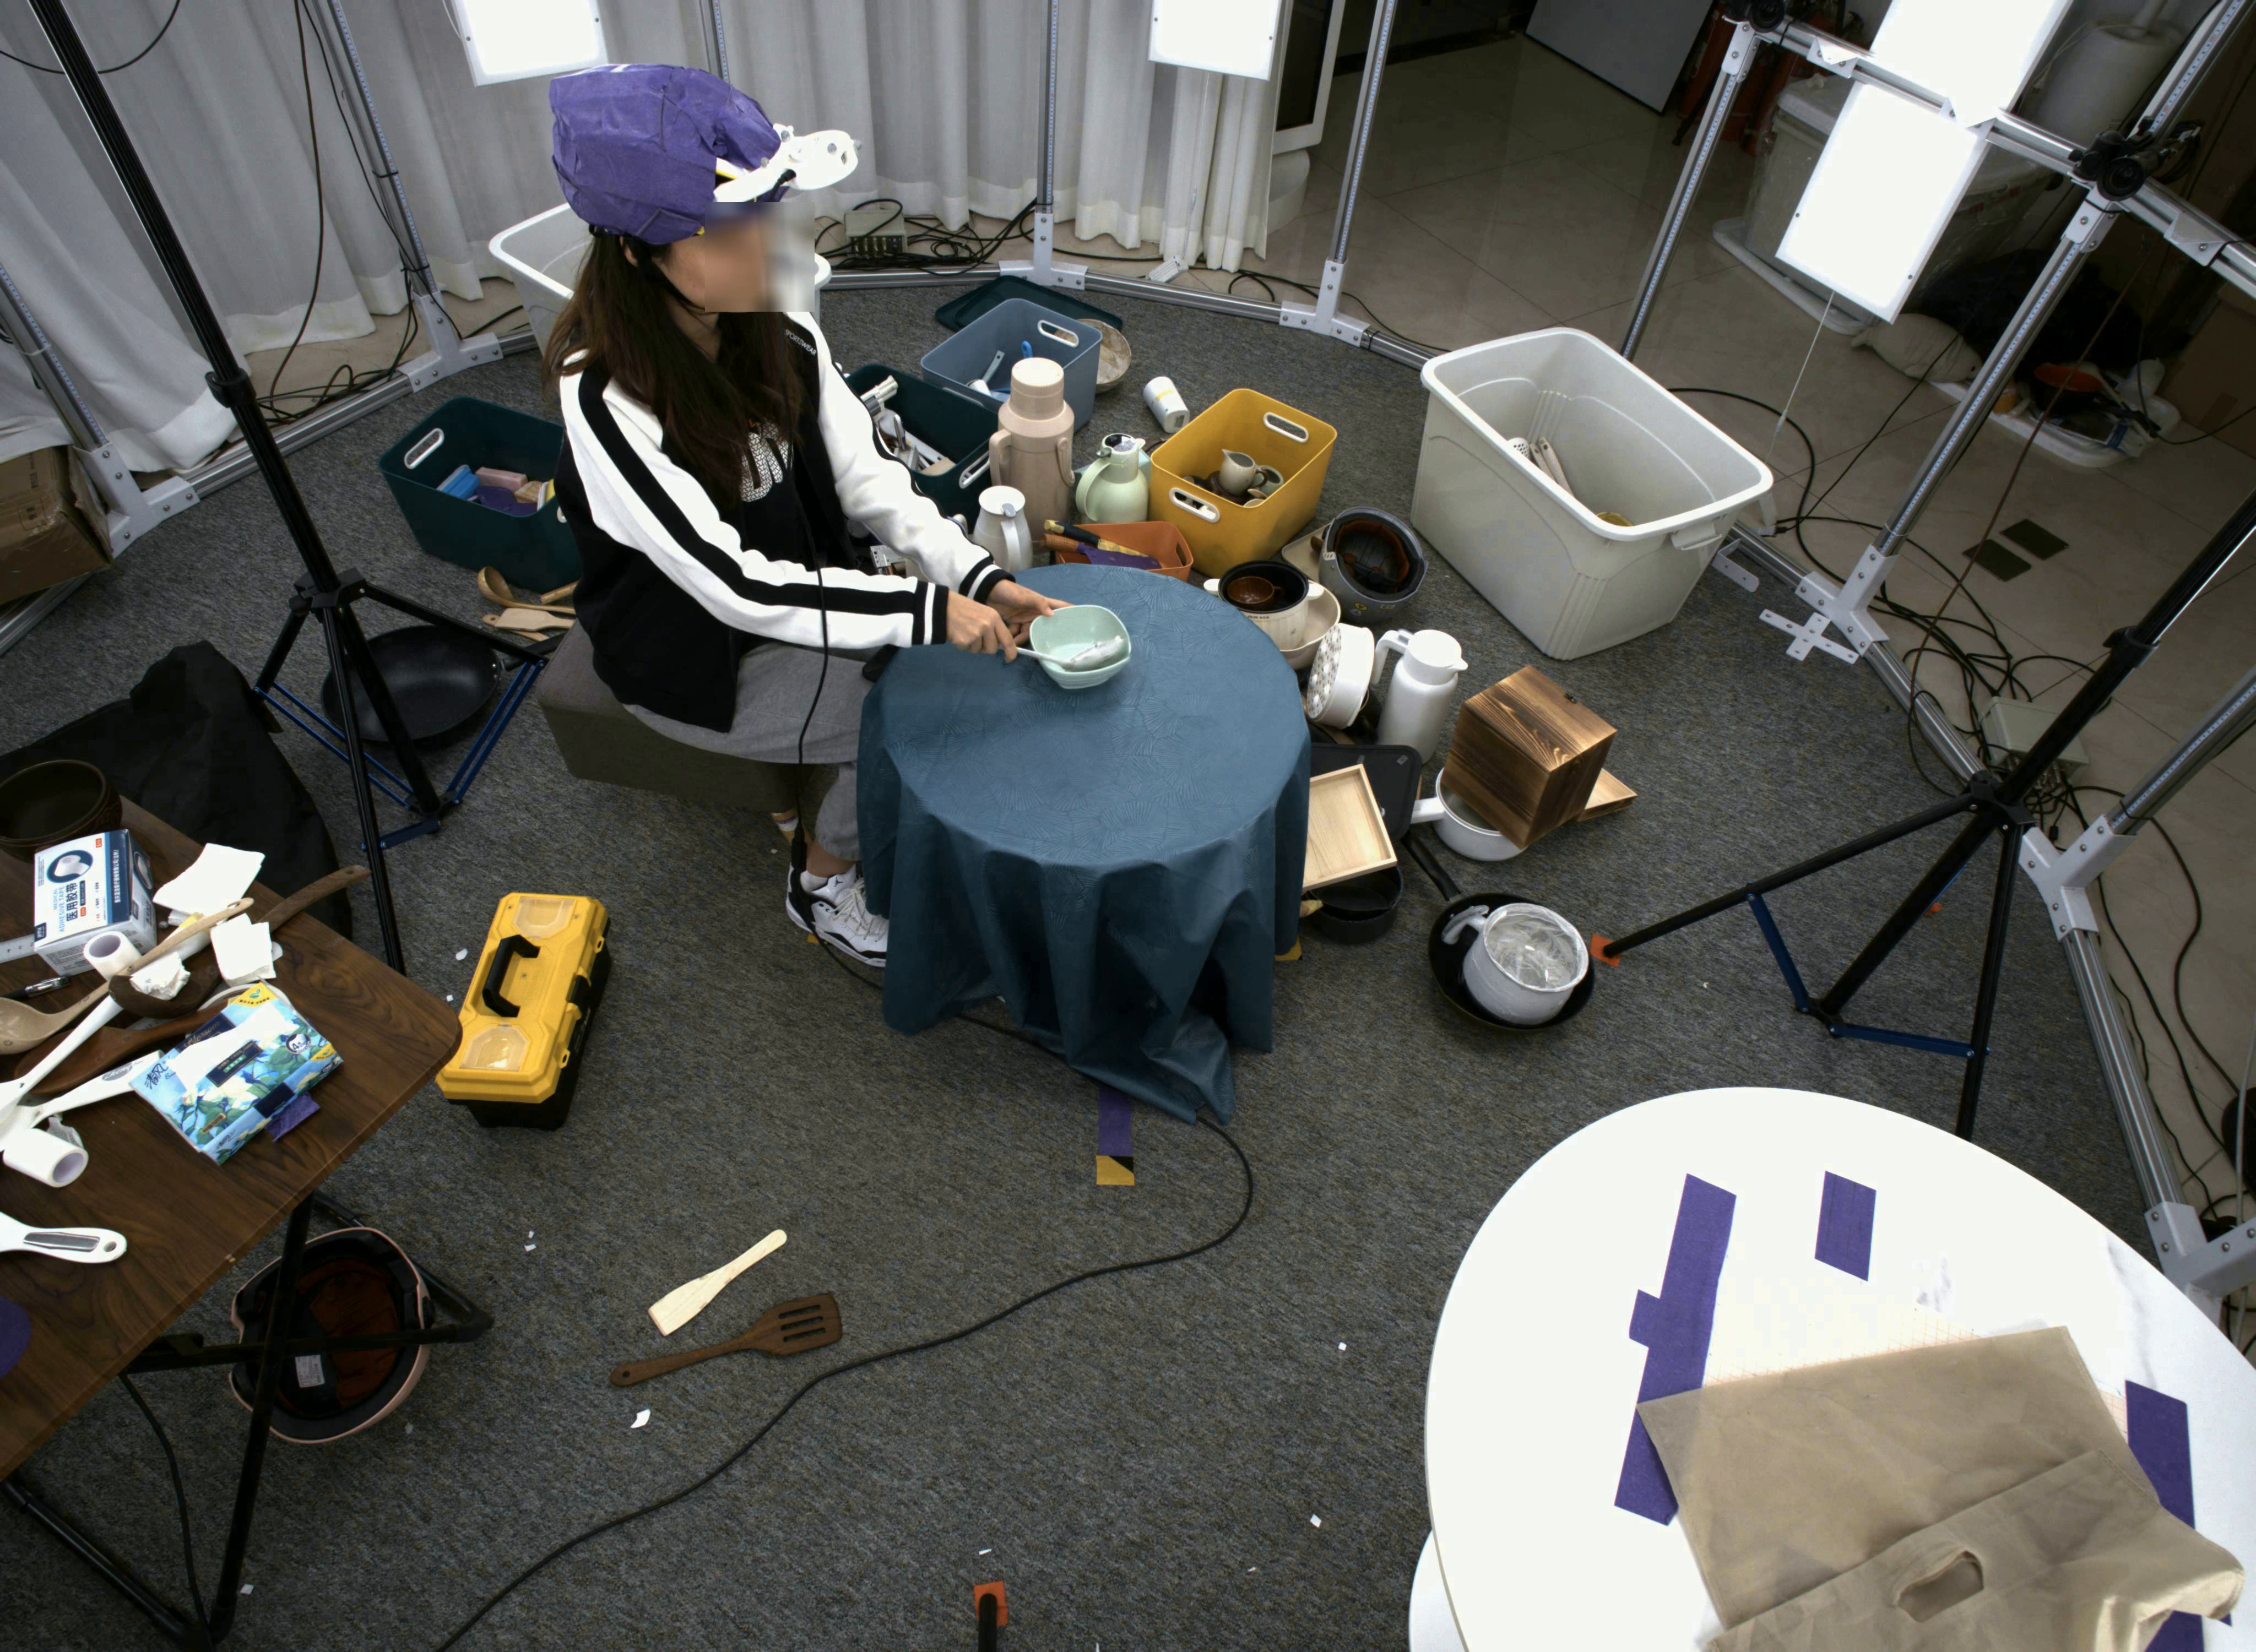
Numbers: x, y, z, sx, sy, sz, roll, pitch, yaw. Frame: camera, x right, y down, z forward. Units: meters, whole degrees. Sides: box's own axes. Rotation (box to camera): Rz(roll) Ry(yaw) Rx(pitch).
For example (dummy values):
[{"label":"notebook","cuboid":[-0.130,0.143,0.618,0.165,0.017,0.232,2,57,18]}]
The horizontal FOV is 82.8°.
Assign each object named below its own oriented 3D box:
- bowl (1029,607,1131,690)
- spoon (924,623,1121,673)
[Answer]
[{"label":"bowl","cuboid":[-0.070,-0.246,1.846,0.151,0.057,0.155,2,49,-2]},{"label":"spoon","cuboid":[-0.145,-0.263,1.788,0.276,0.099,0.060,13,65,-16]}]
